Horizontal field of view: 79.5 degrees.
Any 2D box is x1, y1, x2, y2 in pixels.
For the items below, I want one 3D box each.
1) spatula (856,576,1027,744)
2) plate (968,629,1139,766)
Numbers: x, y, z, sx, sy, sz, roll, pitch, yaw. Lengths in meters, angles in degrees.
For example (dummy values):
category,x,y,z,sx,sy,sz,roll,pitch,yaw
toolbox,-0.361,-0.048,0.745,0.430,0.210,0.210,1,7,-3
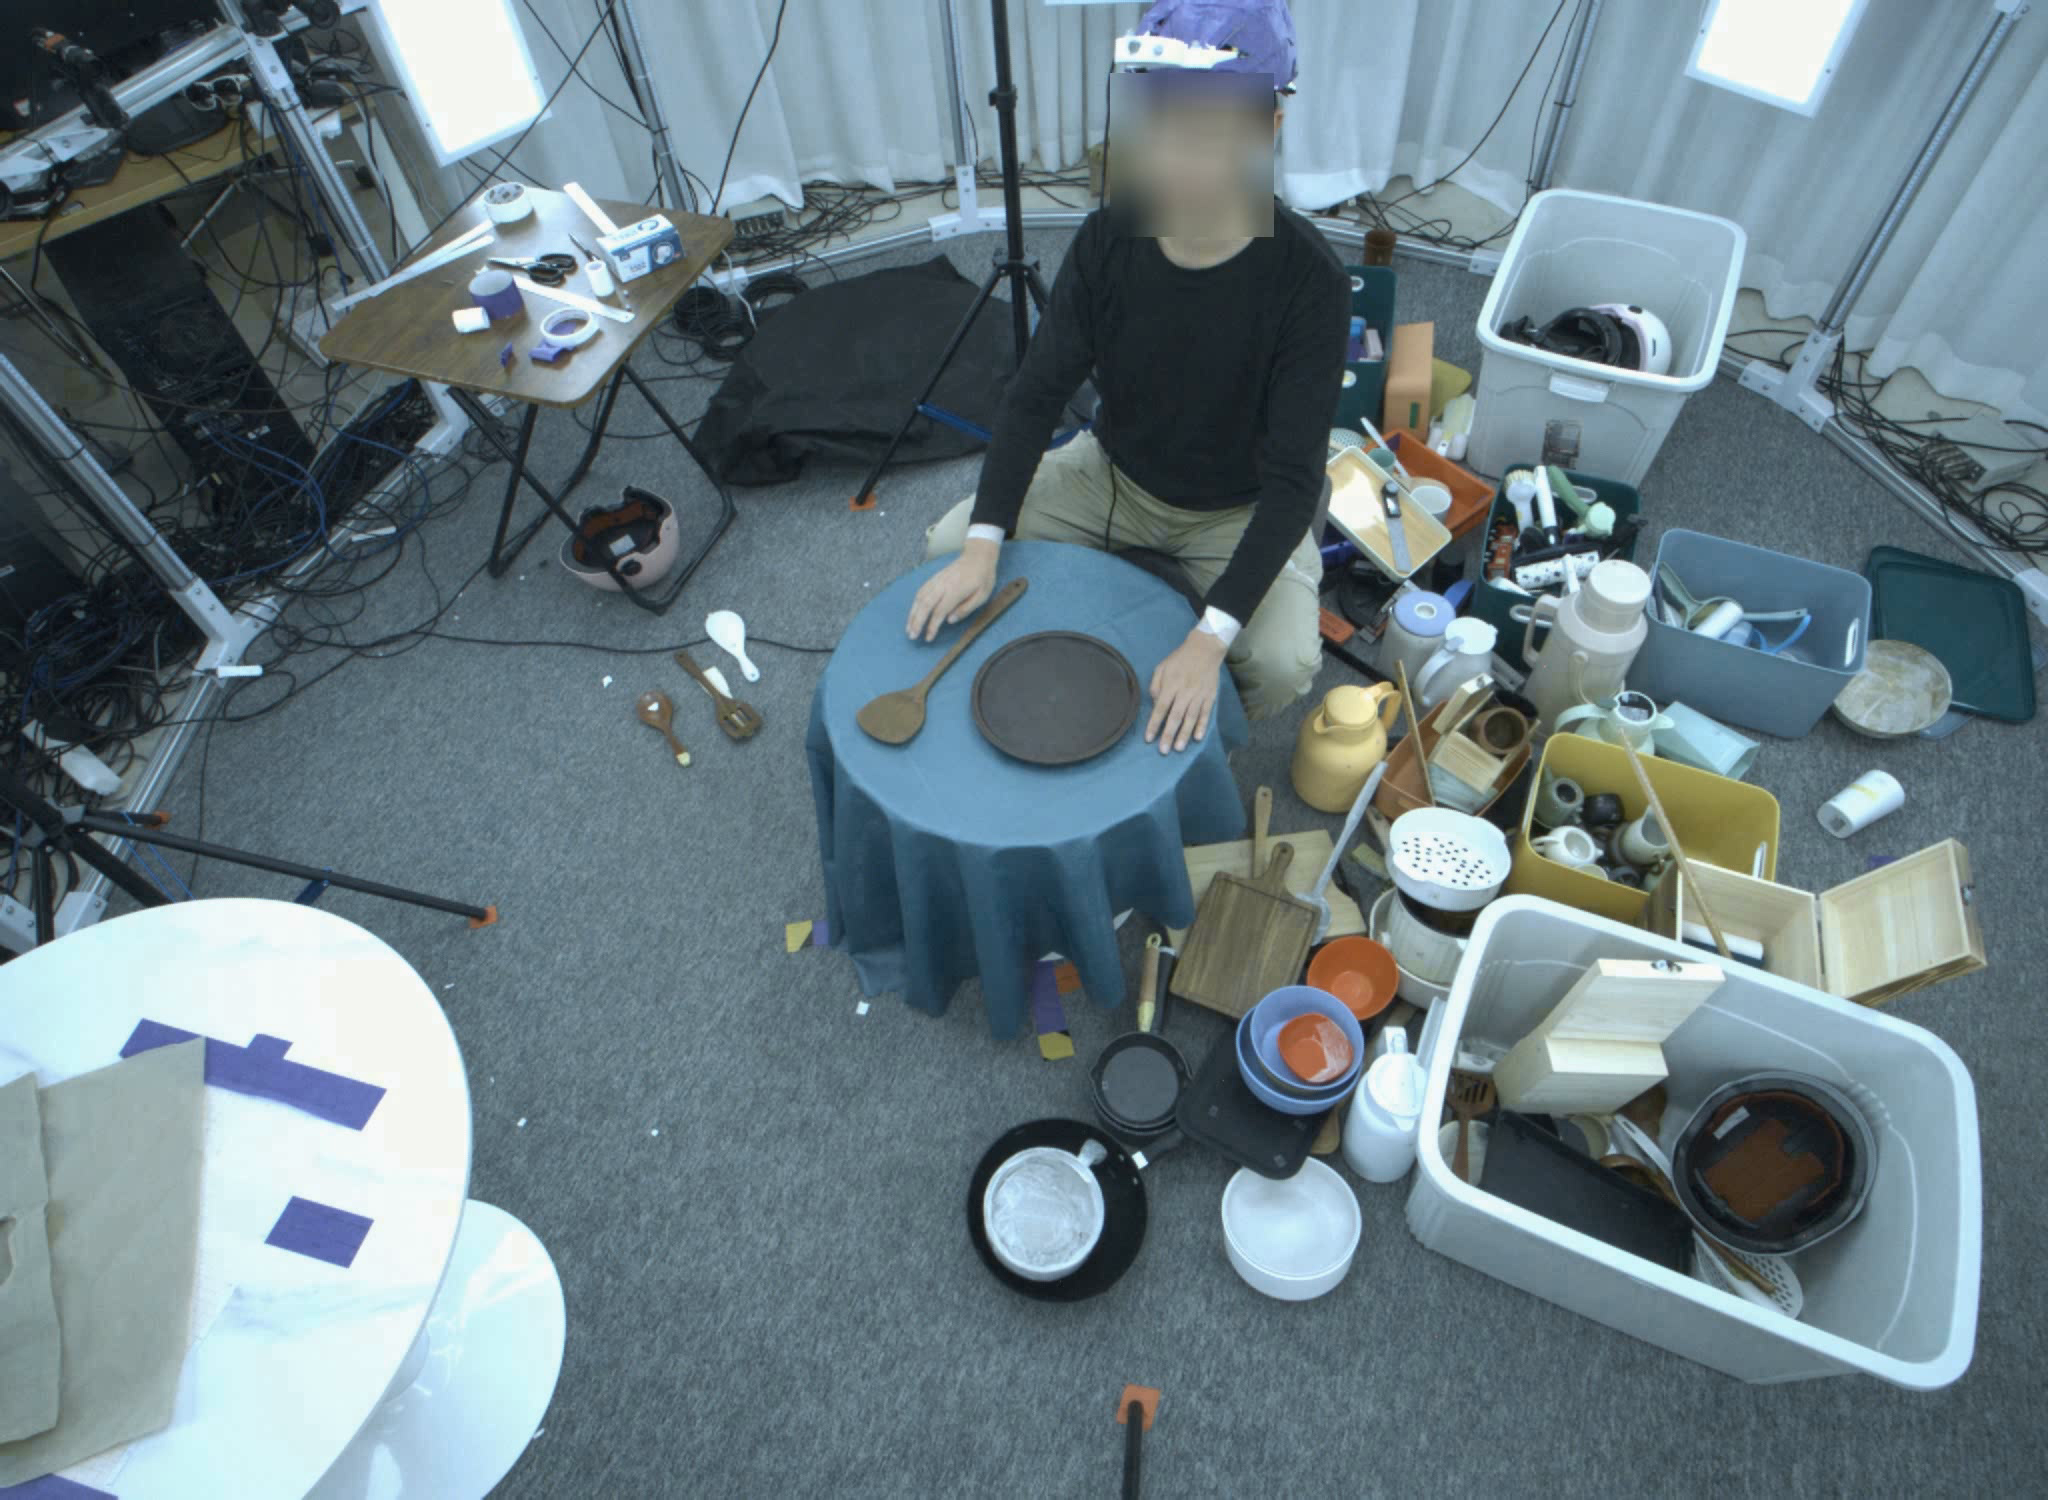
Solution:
category,x,y,z,sx,sy,sz,roll,pitch,yaw
spatula,-0.111,-0.149,1.888,0.094,0.016,0.387,29,60,20
plate,0.044,-0.079,1.827,0.254,0.029,0.252,-1,54,3
